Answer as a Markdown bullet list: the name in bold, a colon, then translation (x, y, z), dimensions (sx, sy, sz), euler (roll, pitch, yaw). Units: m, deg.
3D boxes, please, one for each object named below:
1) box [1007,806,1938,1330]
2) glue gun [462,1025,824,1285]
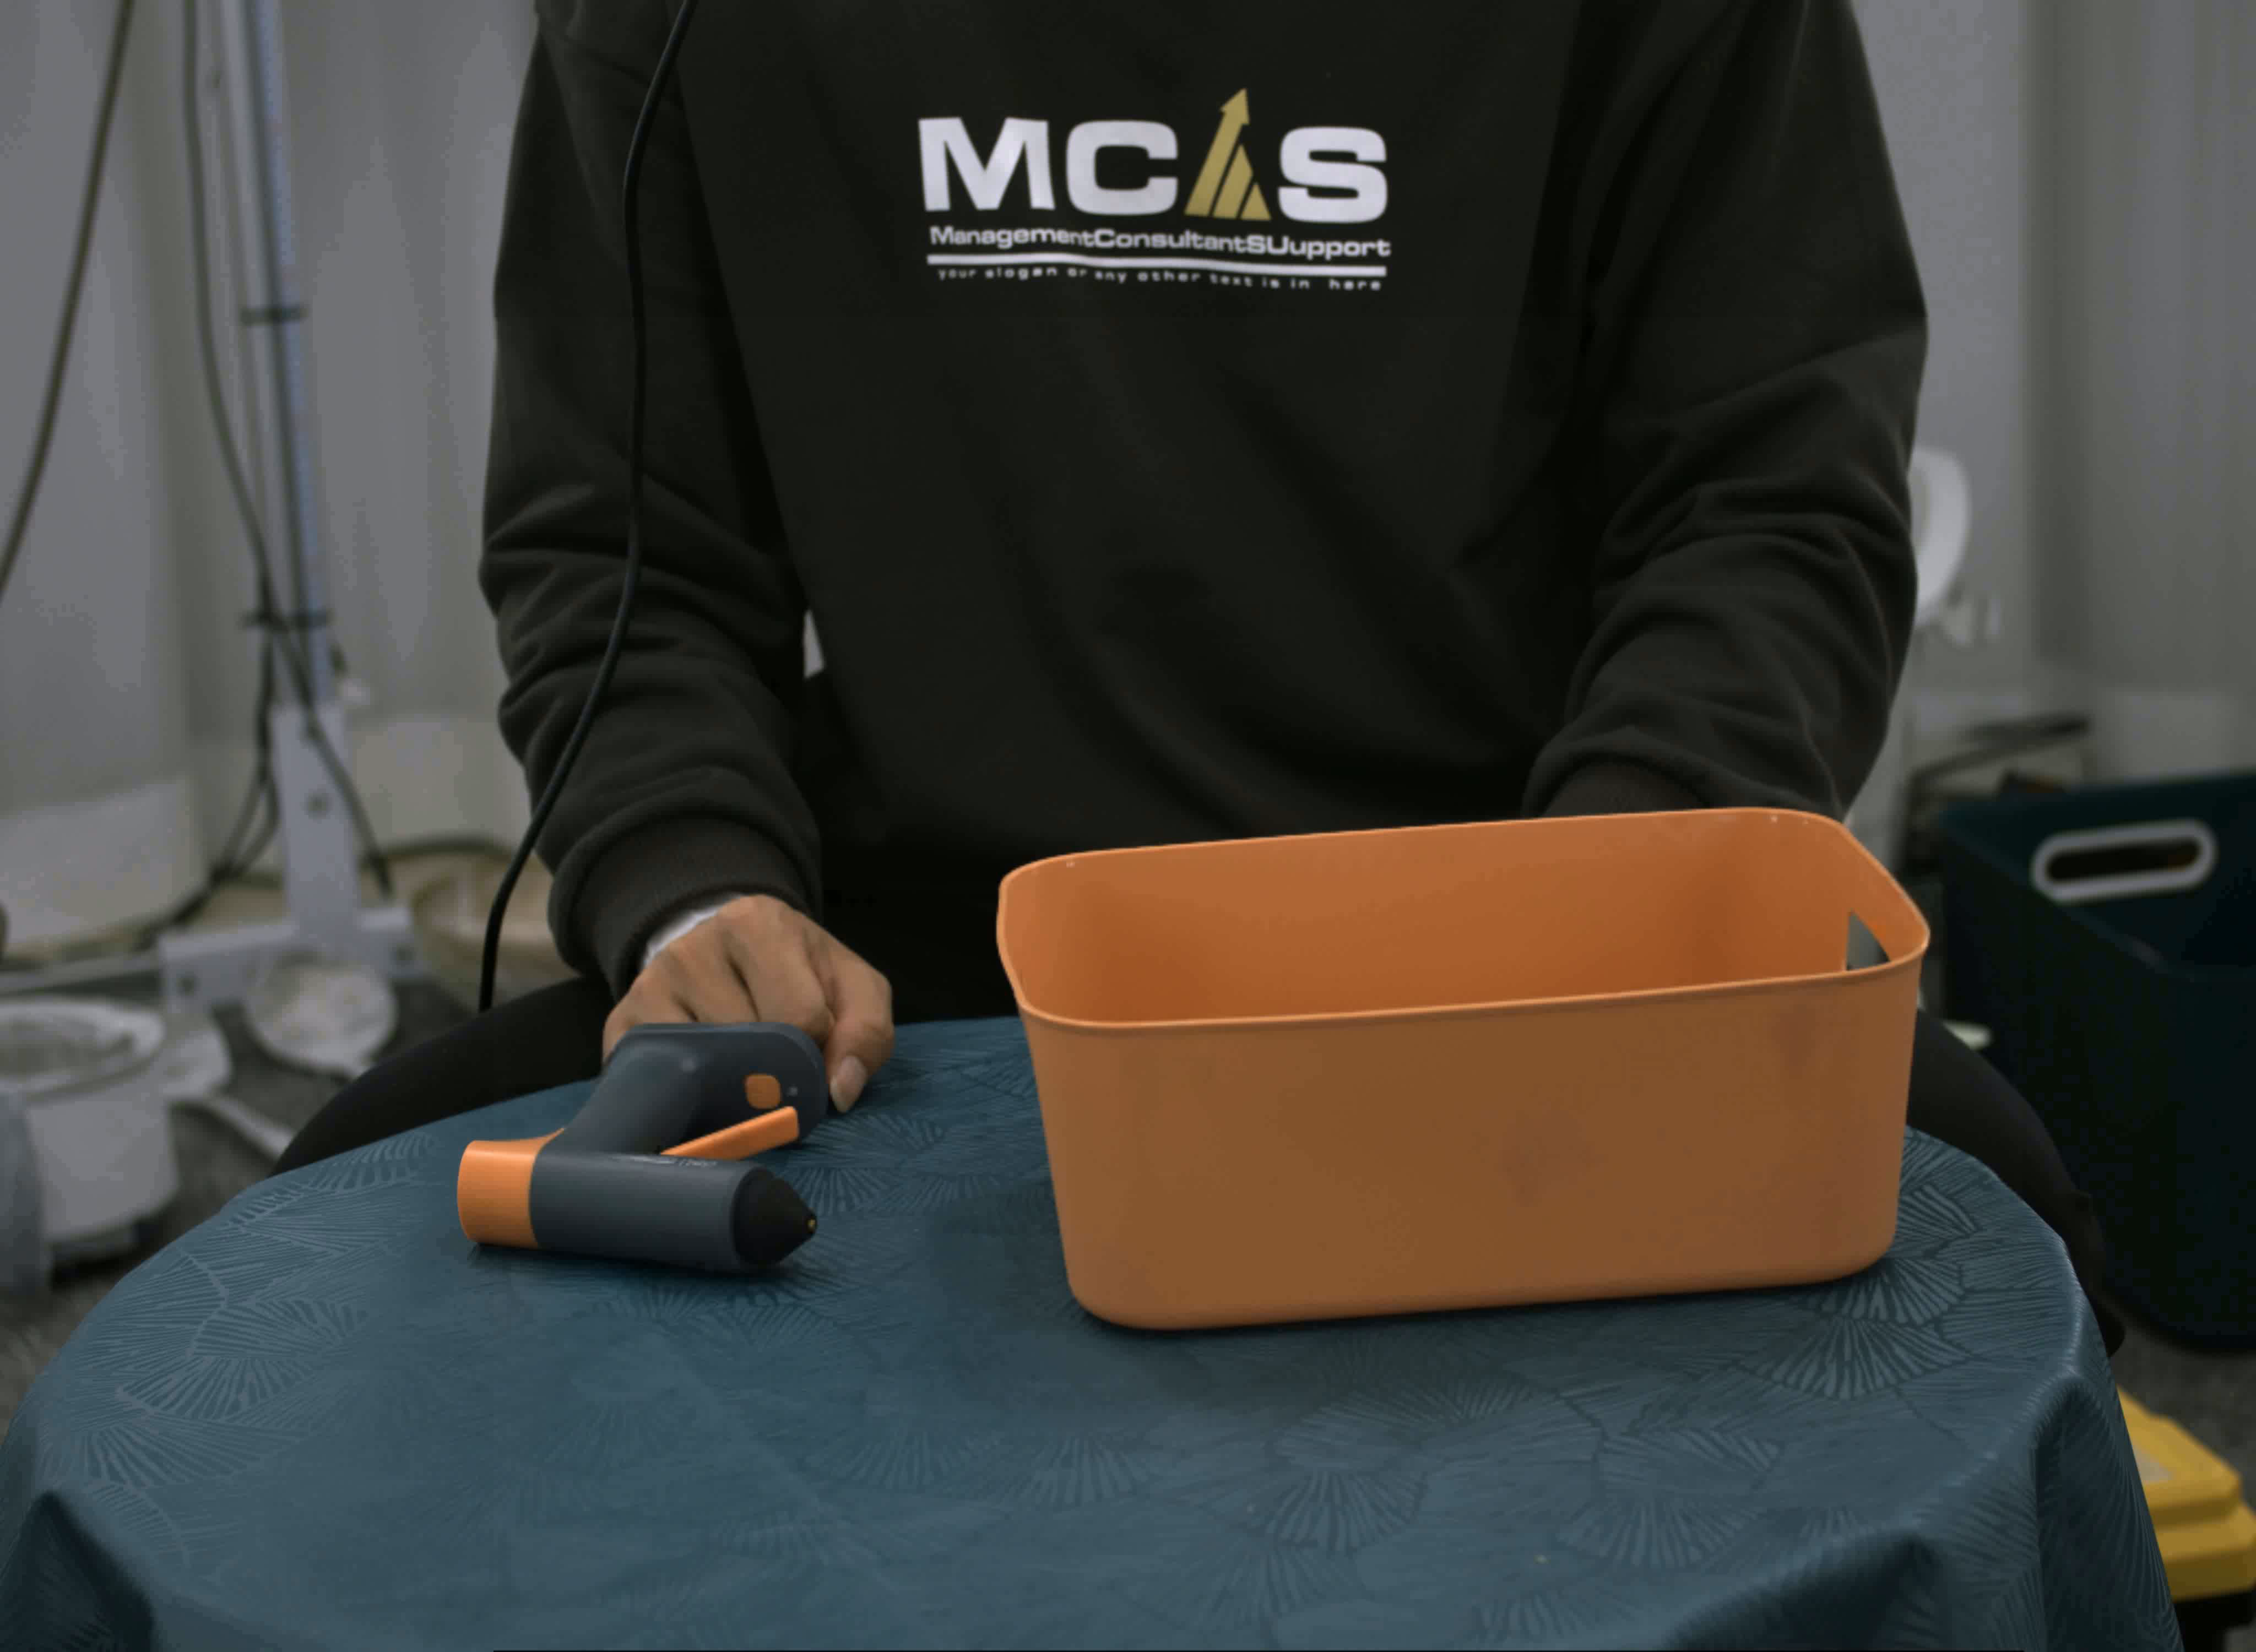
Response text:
- **box**: translation (0.101, 0.072, 1.658), dimensions (0.272, 0.102, 0.201), euler (-4, 15, -3)
- **glue gun**: translation (-0.140, 0.106, 1.717), dimensions (0.118, 0.041, 0.140), euler (2, 18, 10)
